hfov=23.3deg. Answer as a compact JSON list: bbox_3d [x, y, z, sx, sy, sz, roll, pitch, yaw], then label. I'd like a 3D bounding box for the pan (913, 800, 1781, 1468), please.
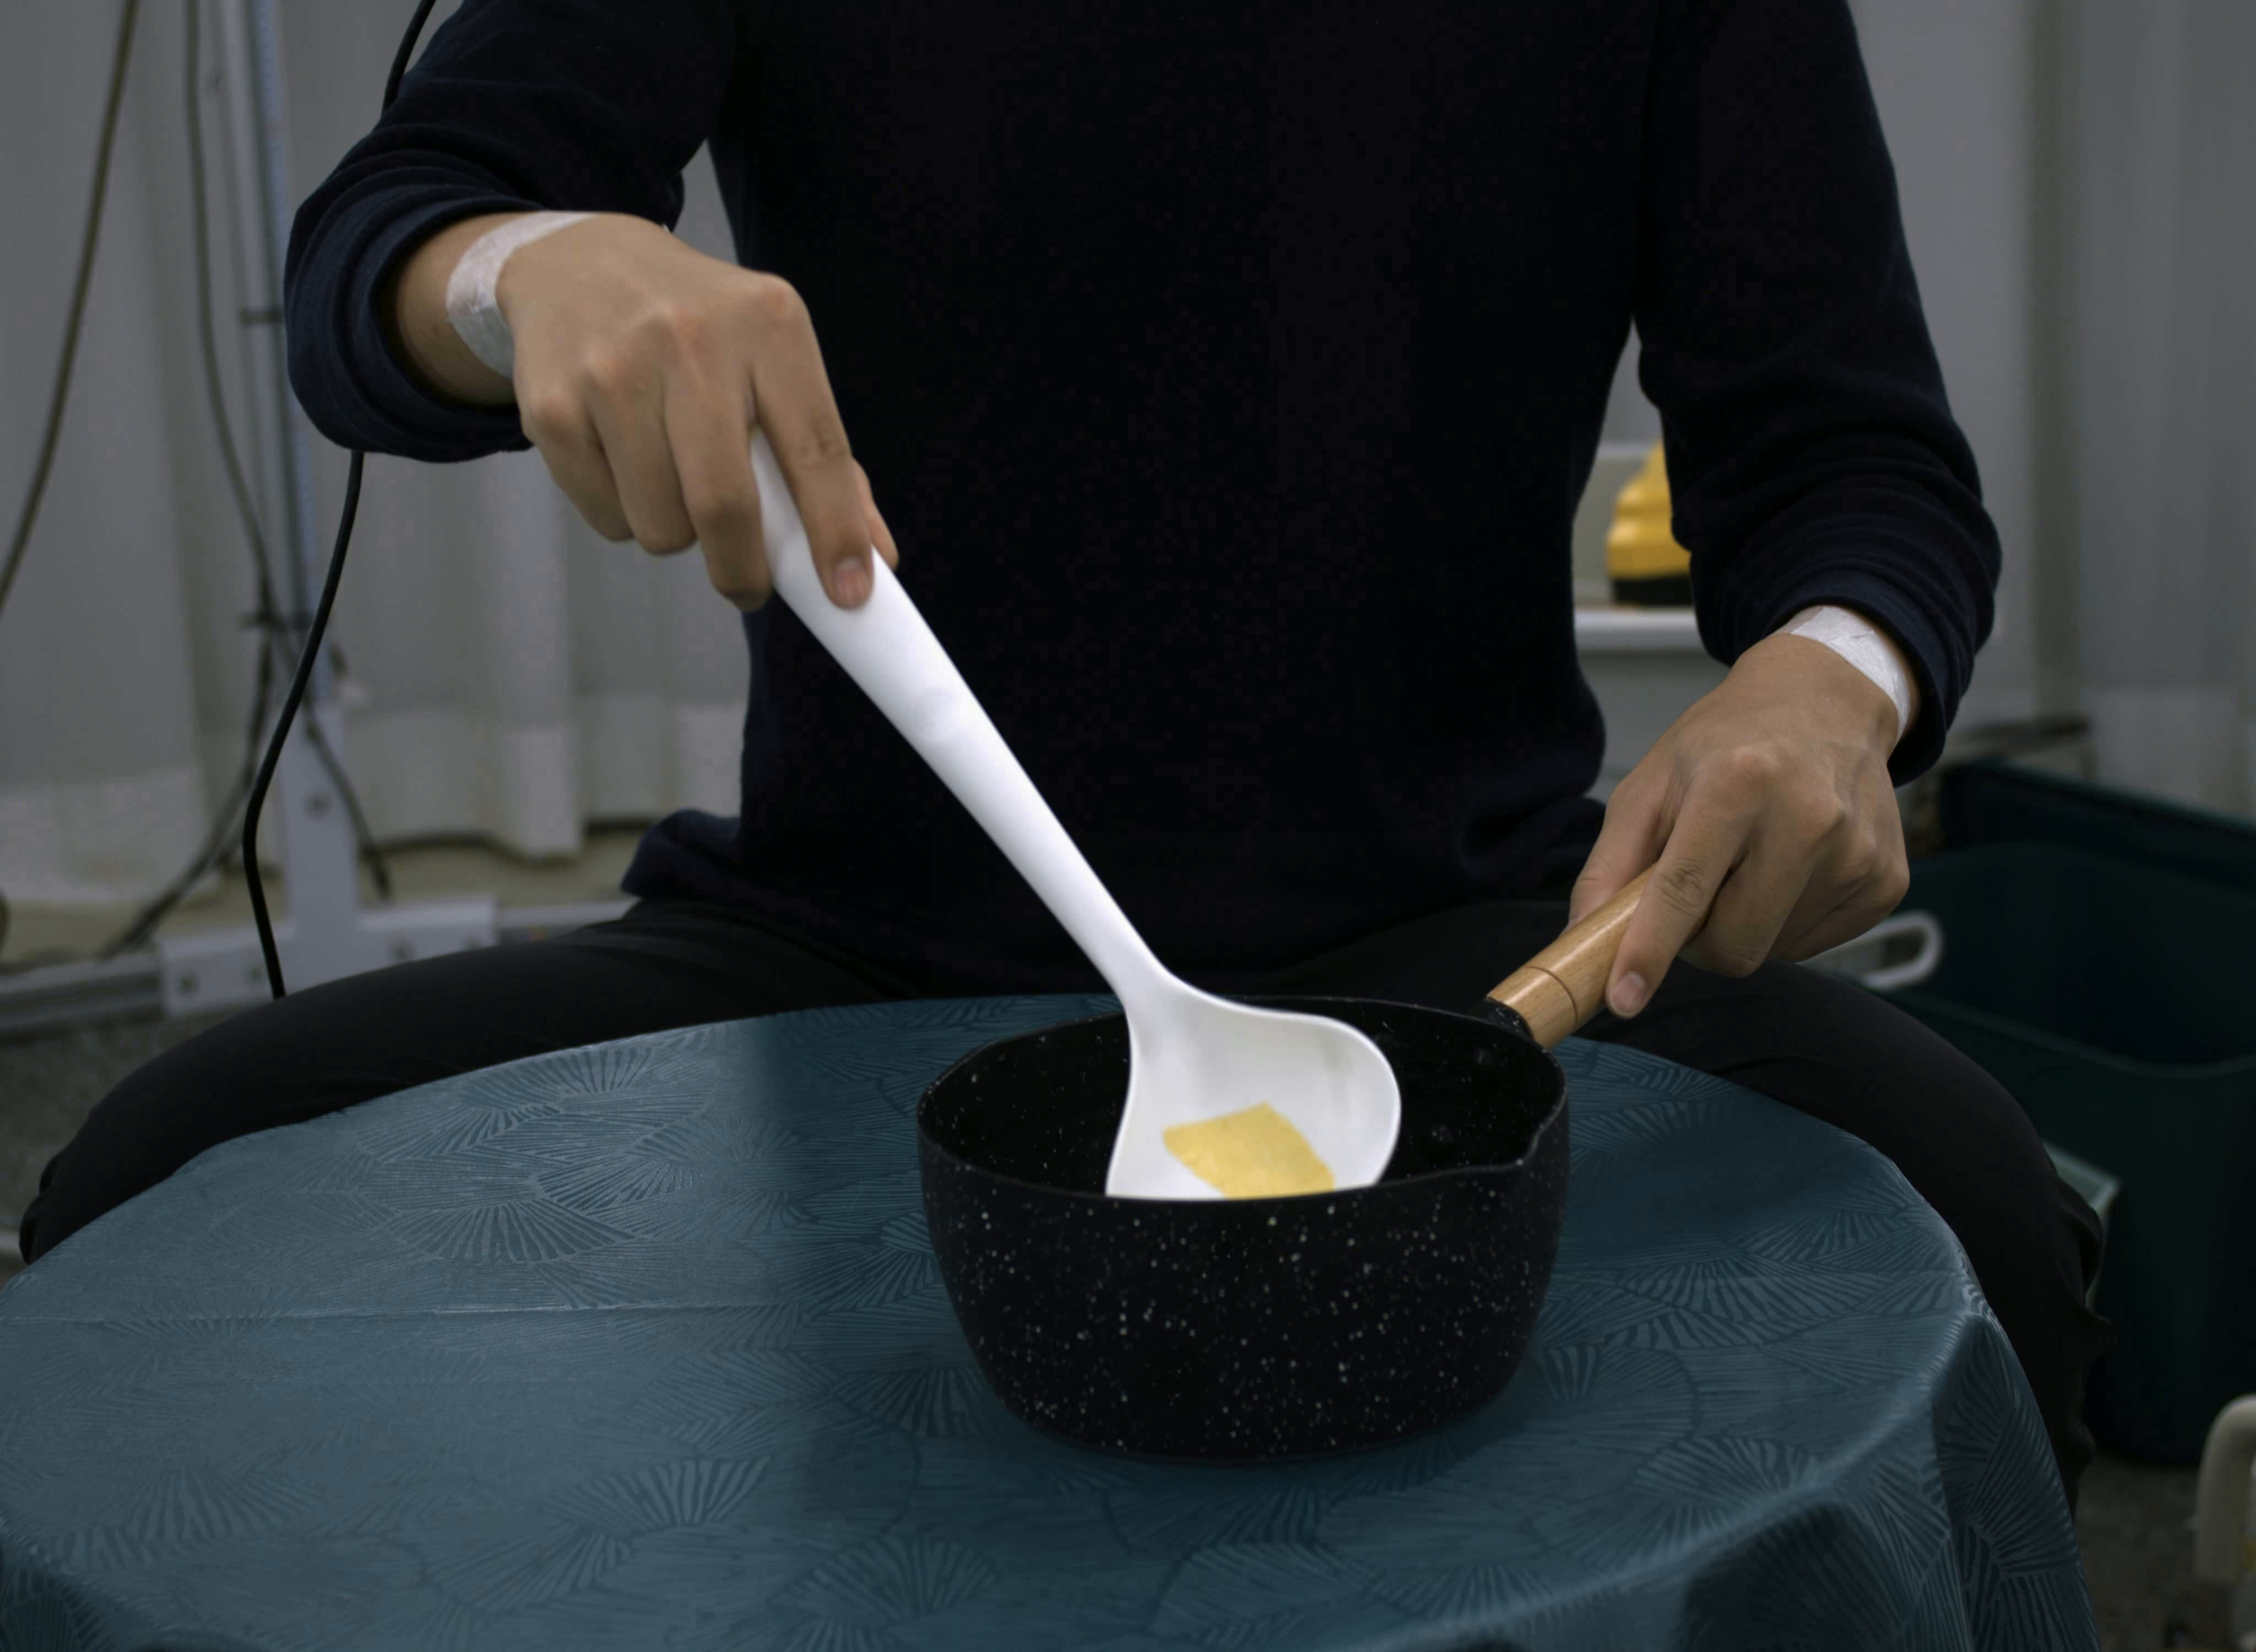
[{"bbox_3d":[0.085,0.085,1.601,0.208,0.108,0.342,9,20,40],"label":"pan"}]

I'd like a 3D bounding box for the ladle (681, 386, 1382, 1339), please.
[{"bbox_3d":[-0.034,0.006,1.506,0.090,0.294,0.070,-35,-3,10],"label":"ladle"}]
